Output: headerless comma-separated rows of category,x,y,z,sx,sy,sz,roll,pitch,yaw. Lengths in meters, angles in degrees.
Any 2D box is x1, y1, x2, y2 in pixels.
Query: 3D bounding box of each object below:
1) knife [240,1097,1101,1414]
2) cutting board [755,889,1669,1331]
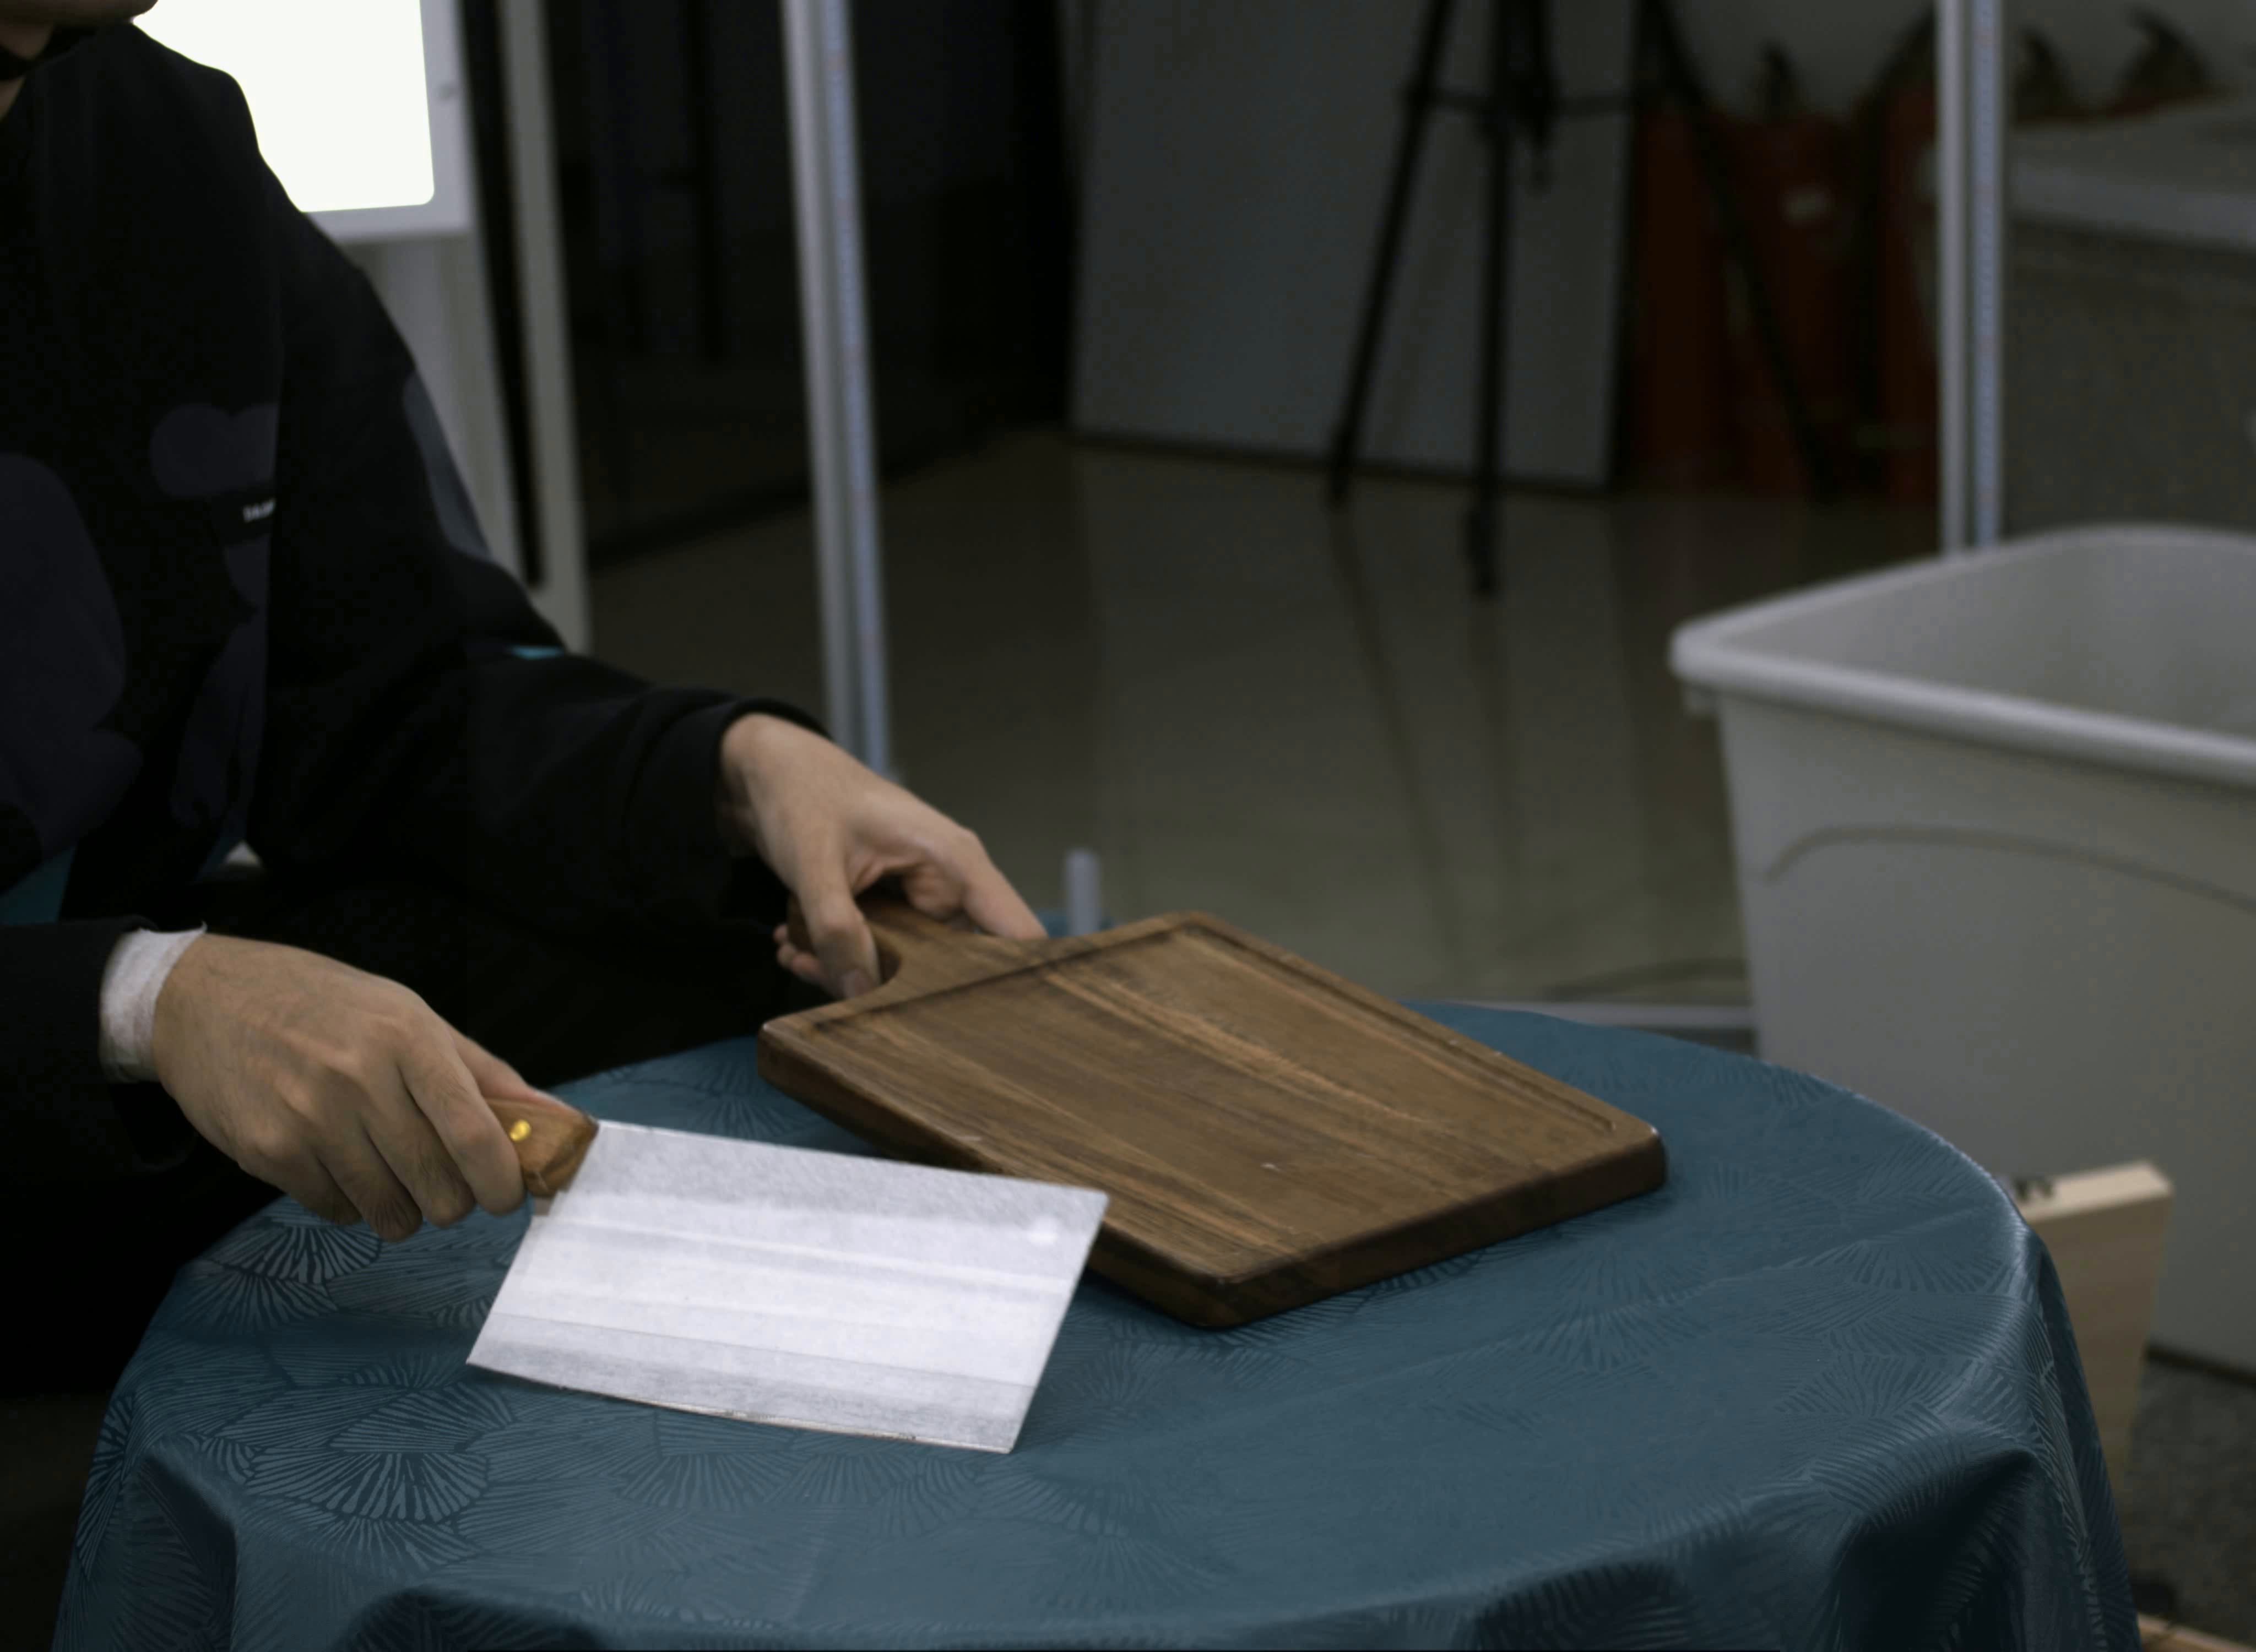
knife,-0.151,0.131,1.636,0.307,0.021,0.093,5,56,29
cutting board,-0.005,0.079,1.808,0.197,0.023,0.356,-14,24,-36
